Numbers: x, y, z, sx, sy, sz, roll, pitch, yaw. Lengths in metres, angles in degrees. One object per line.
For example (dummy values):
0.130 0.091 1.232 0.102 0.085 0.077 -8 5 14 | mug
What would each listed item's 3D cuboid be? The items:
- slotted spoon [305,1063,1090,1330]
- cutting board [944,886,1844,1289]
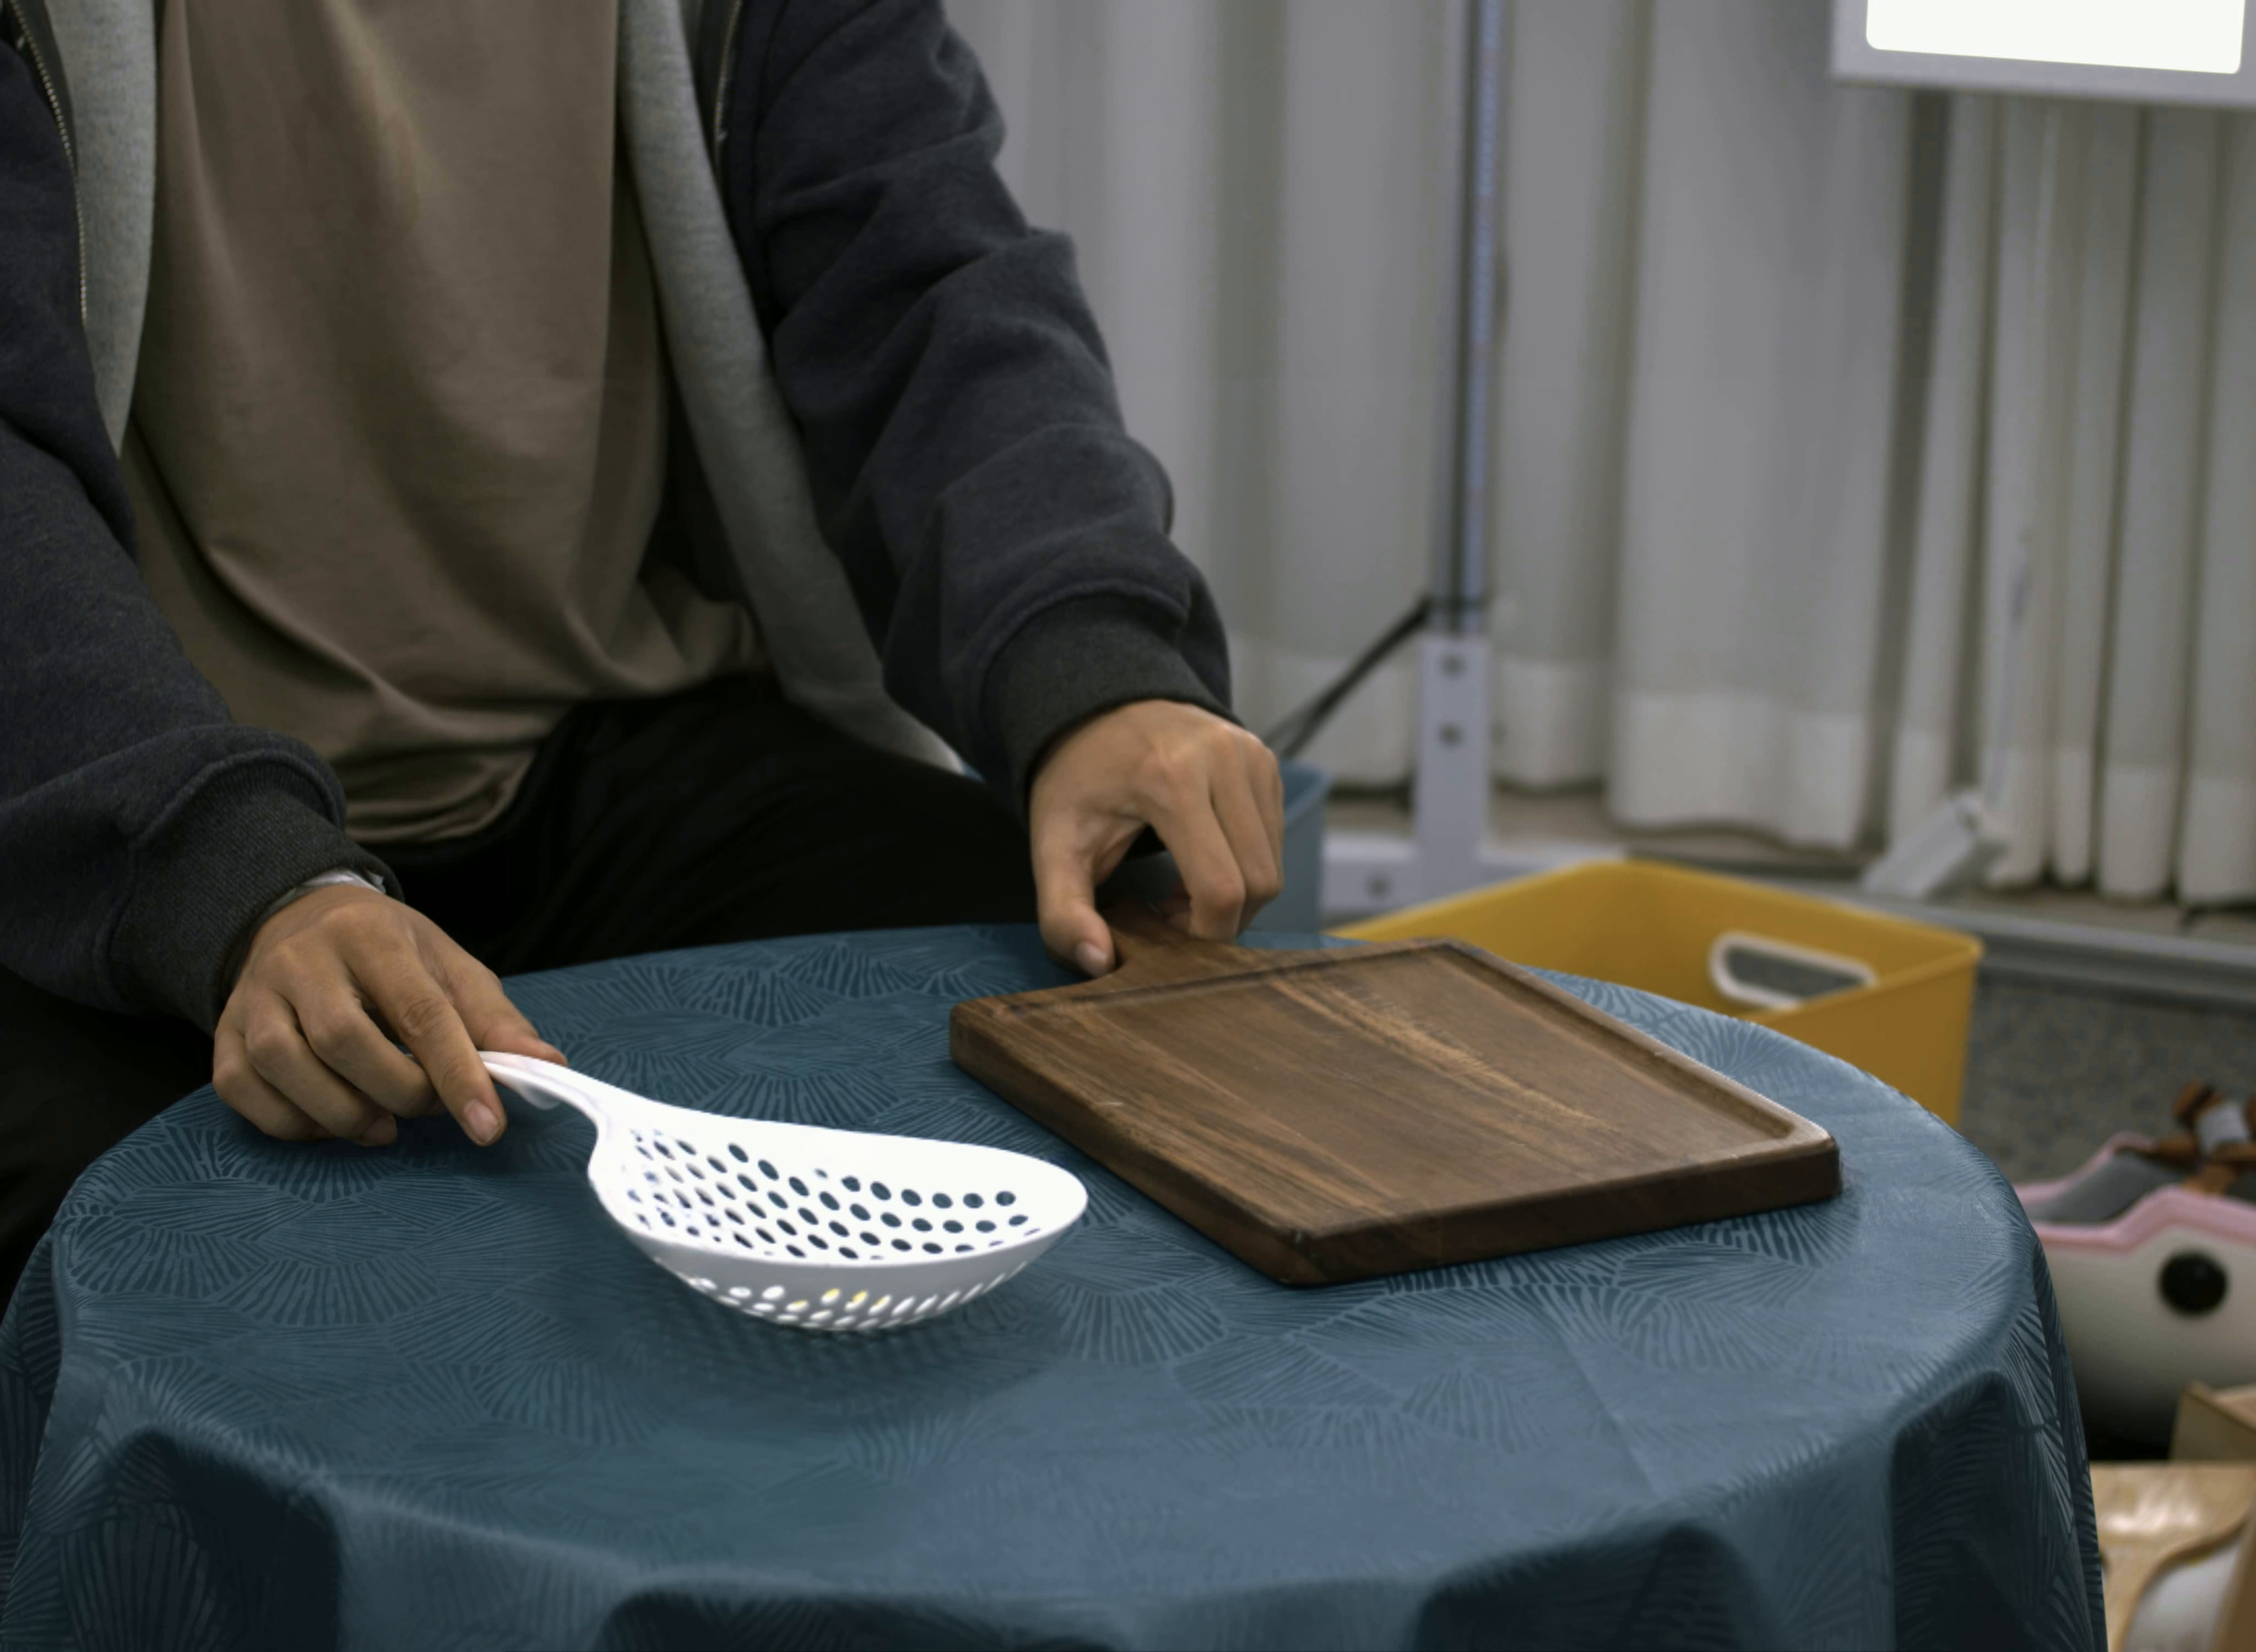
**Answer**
-0.149 0.098 1.590 0.137 0.051 0.343 -11 19 -38 | slotted spoon
0.058 0.074 1.724 0.202 0.023 0.348 -6 17 -26 | cutting board
